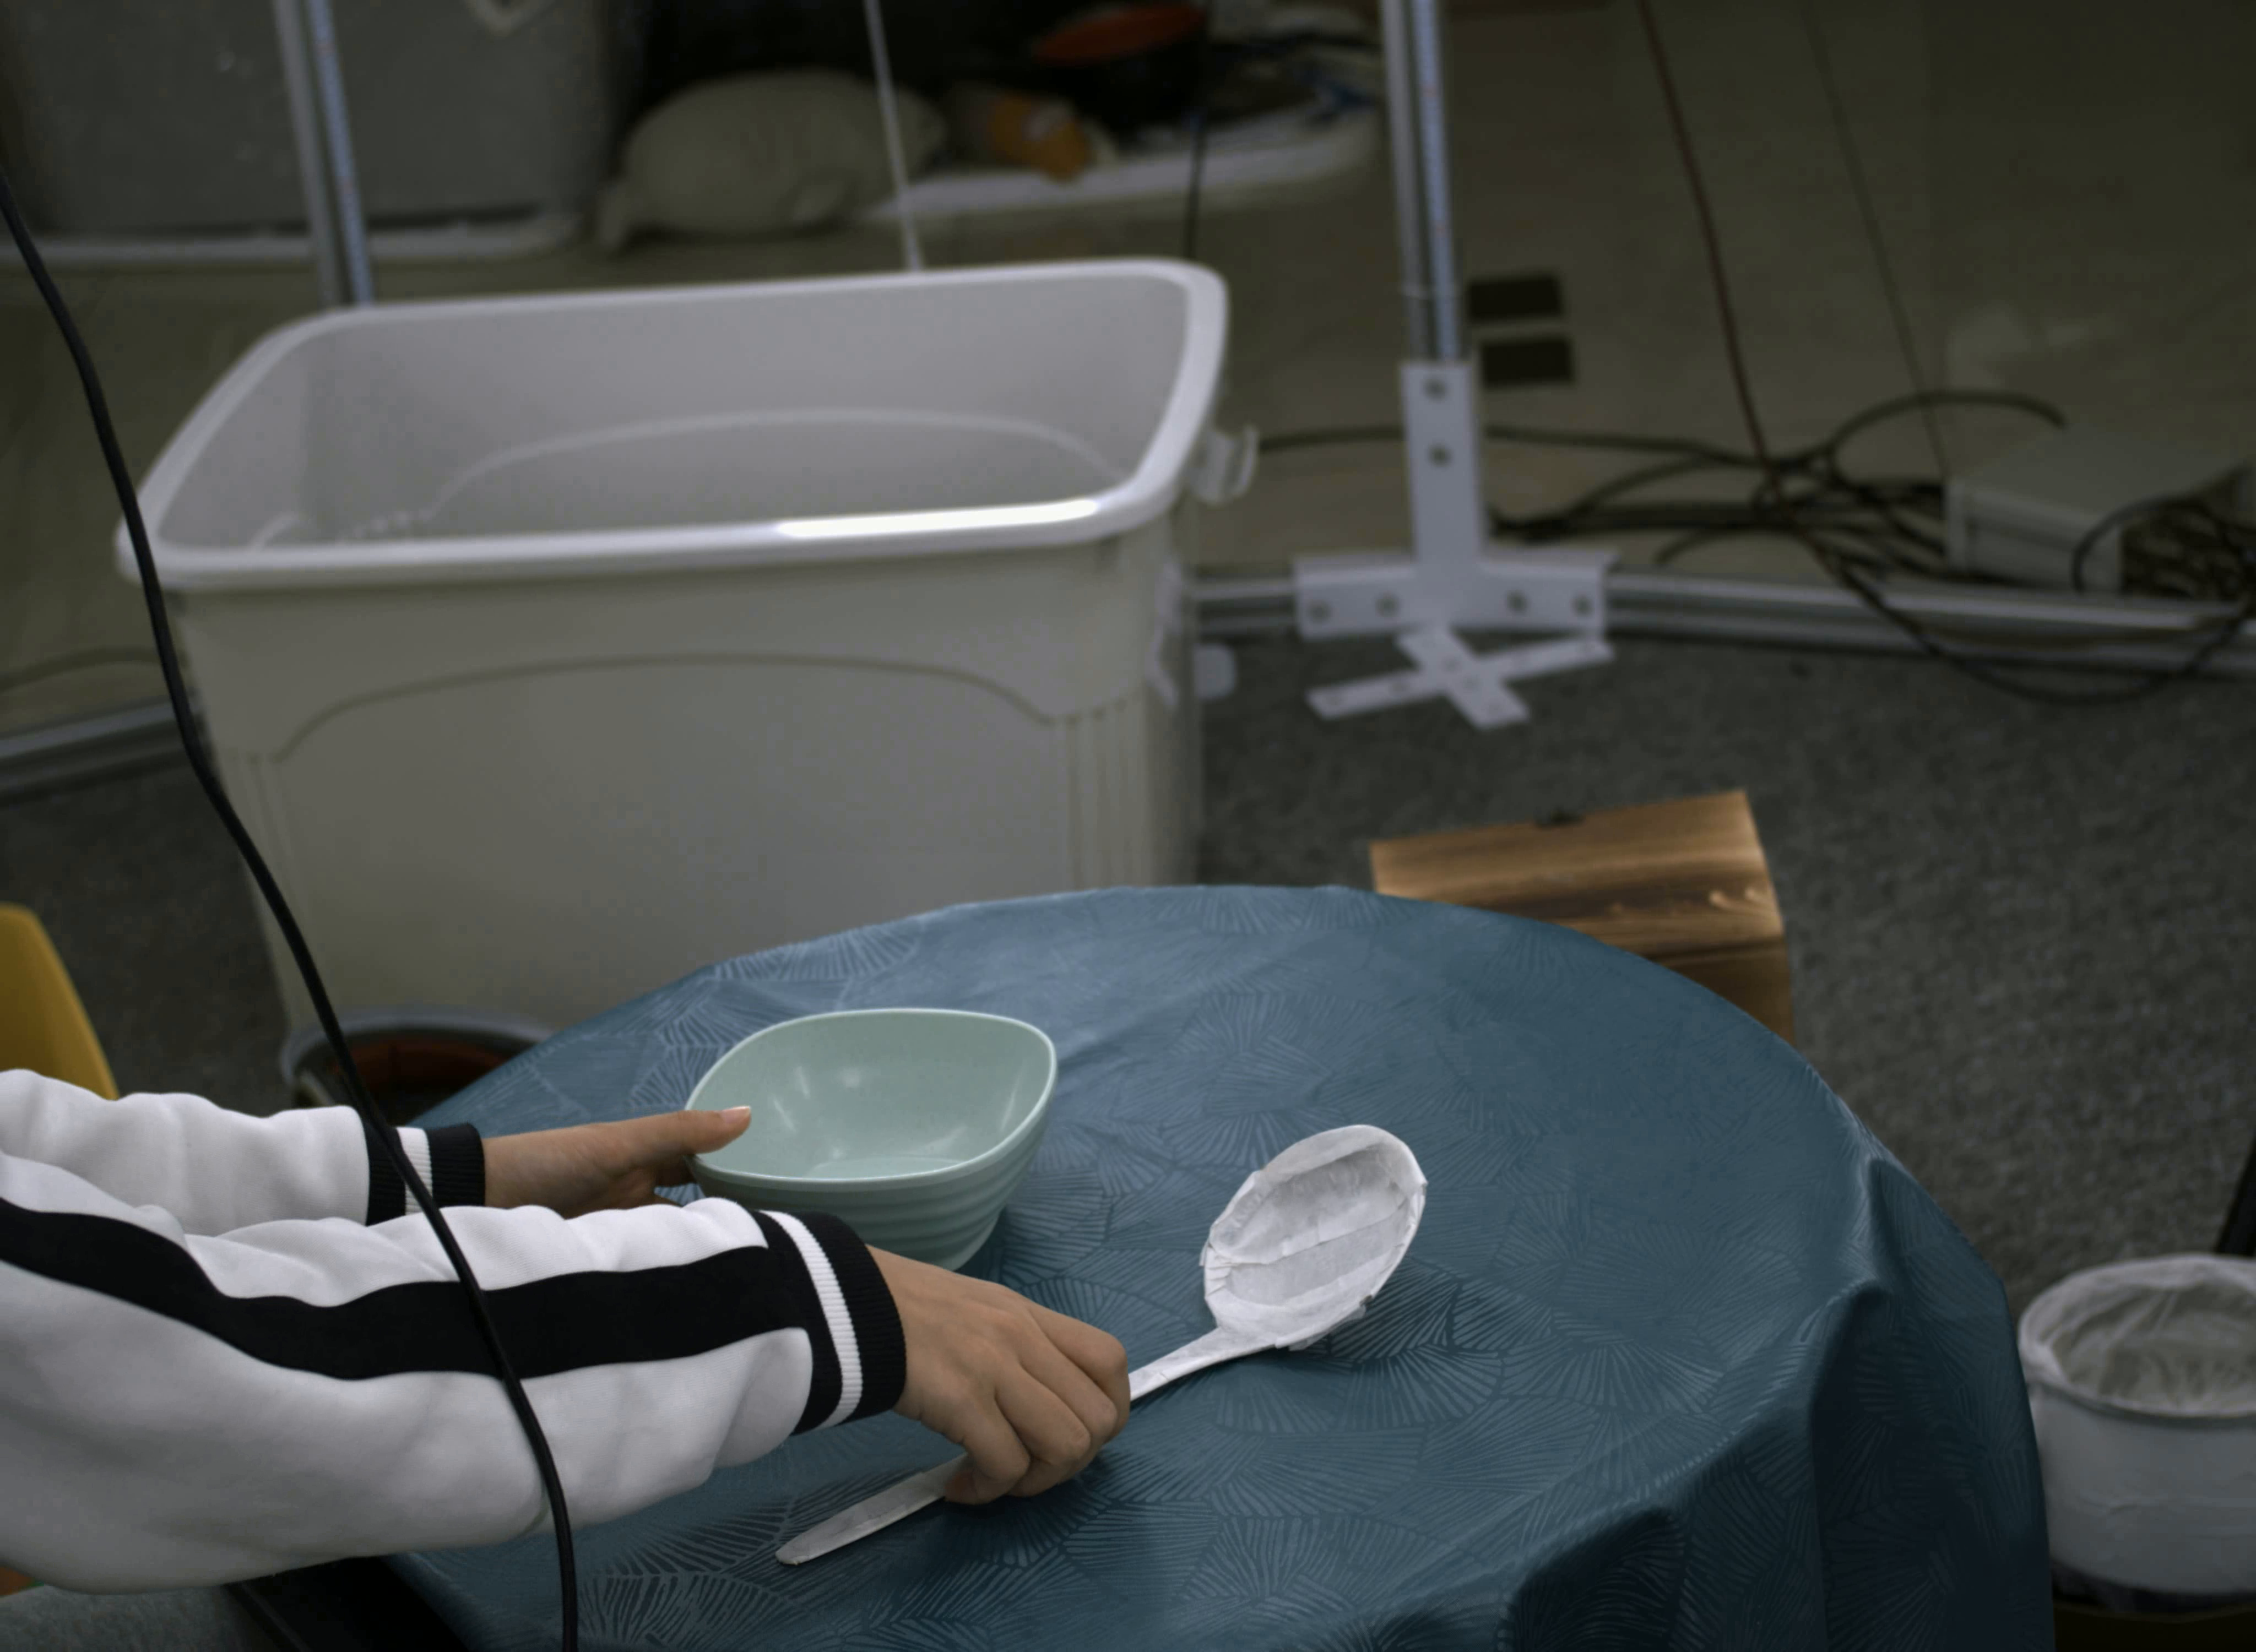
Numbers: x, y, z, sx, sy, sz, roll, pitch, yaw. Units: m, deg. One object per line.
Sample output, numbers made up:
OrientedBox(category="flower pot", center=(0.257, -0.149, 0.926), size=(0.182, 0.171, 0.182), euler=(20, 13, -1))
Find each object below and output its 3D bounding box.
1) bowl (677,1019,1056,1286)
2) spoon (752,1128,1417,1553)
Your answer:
OrientedBox(category="bowl", center=(-0.095, 0.128, 2.131), size=(0.151, 0.059, 0.149), euler=(-5, 24, 2))
OrientedBox(category="spoon", center=(-0.019, 0.179, 2.000), size=(0.276, 0.060, 0.100), euler=(-20, 22, -27))
